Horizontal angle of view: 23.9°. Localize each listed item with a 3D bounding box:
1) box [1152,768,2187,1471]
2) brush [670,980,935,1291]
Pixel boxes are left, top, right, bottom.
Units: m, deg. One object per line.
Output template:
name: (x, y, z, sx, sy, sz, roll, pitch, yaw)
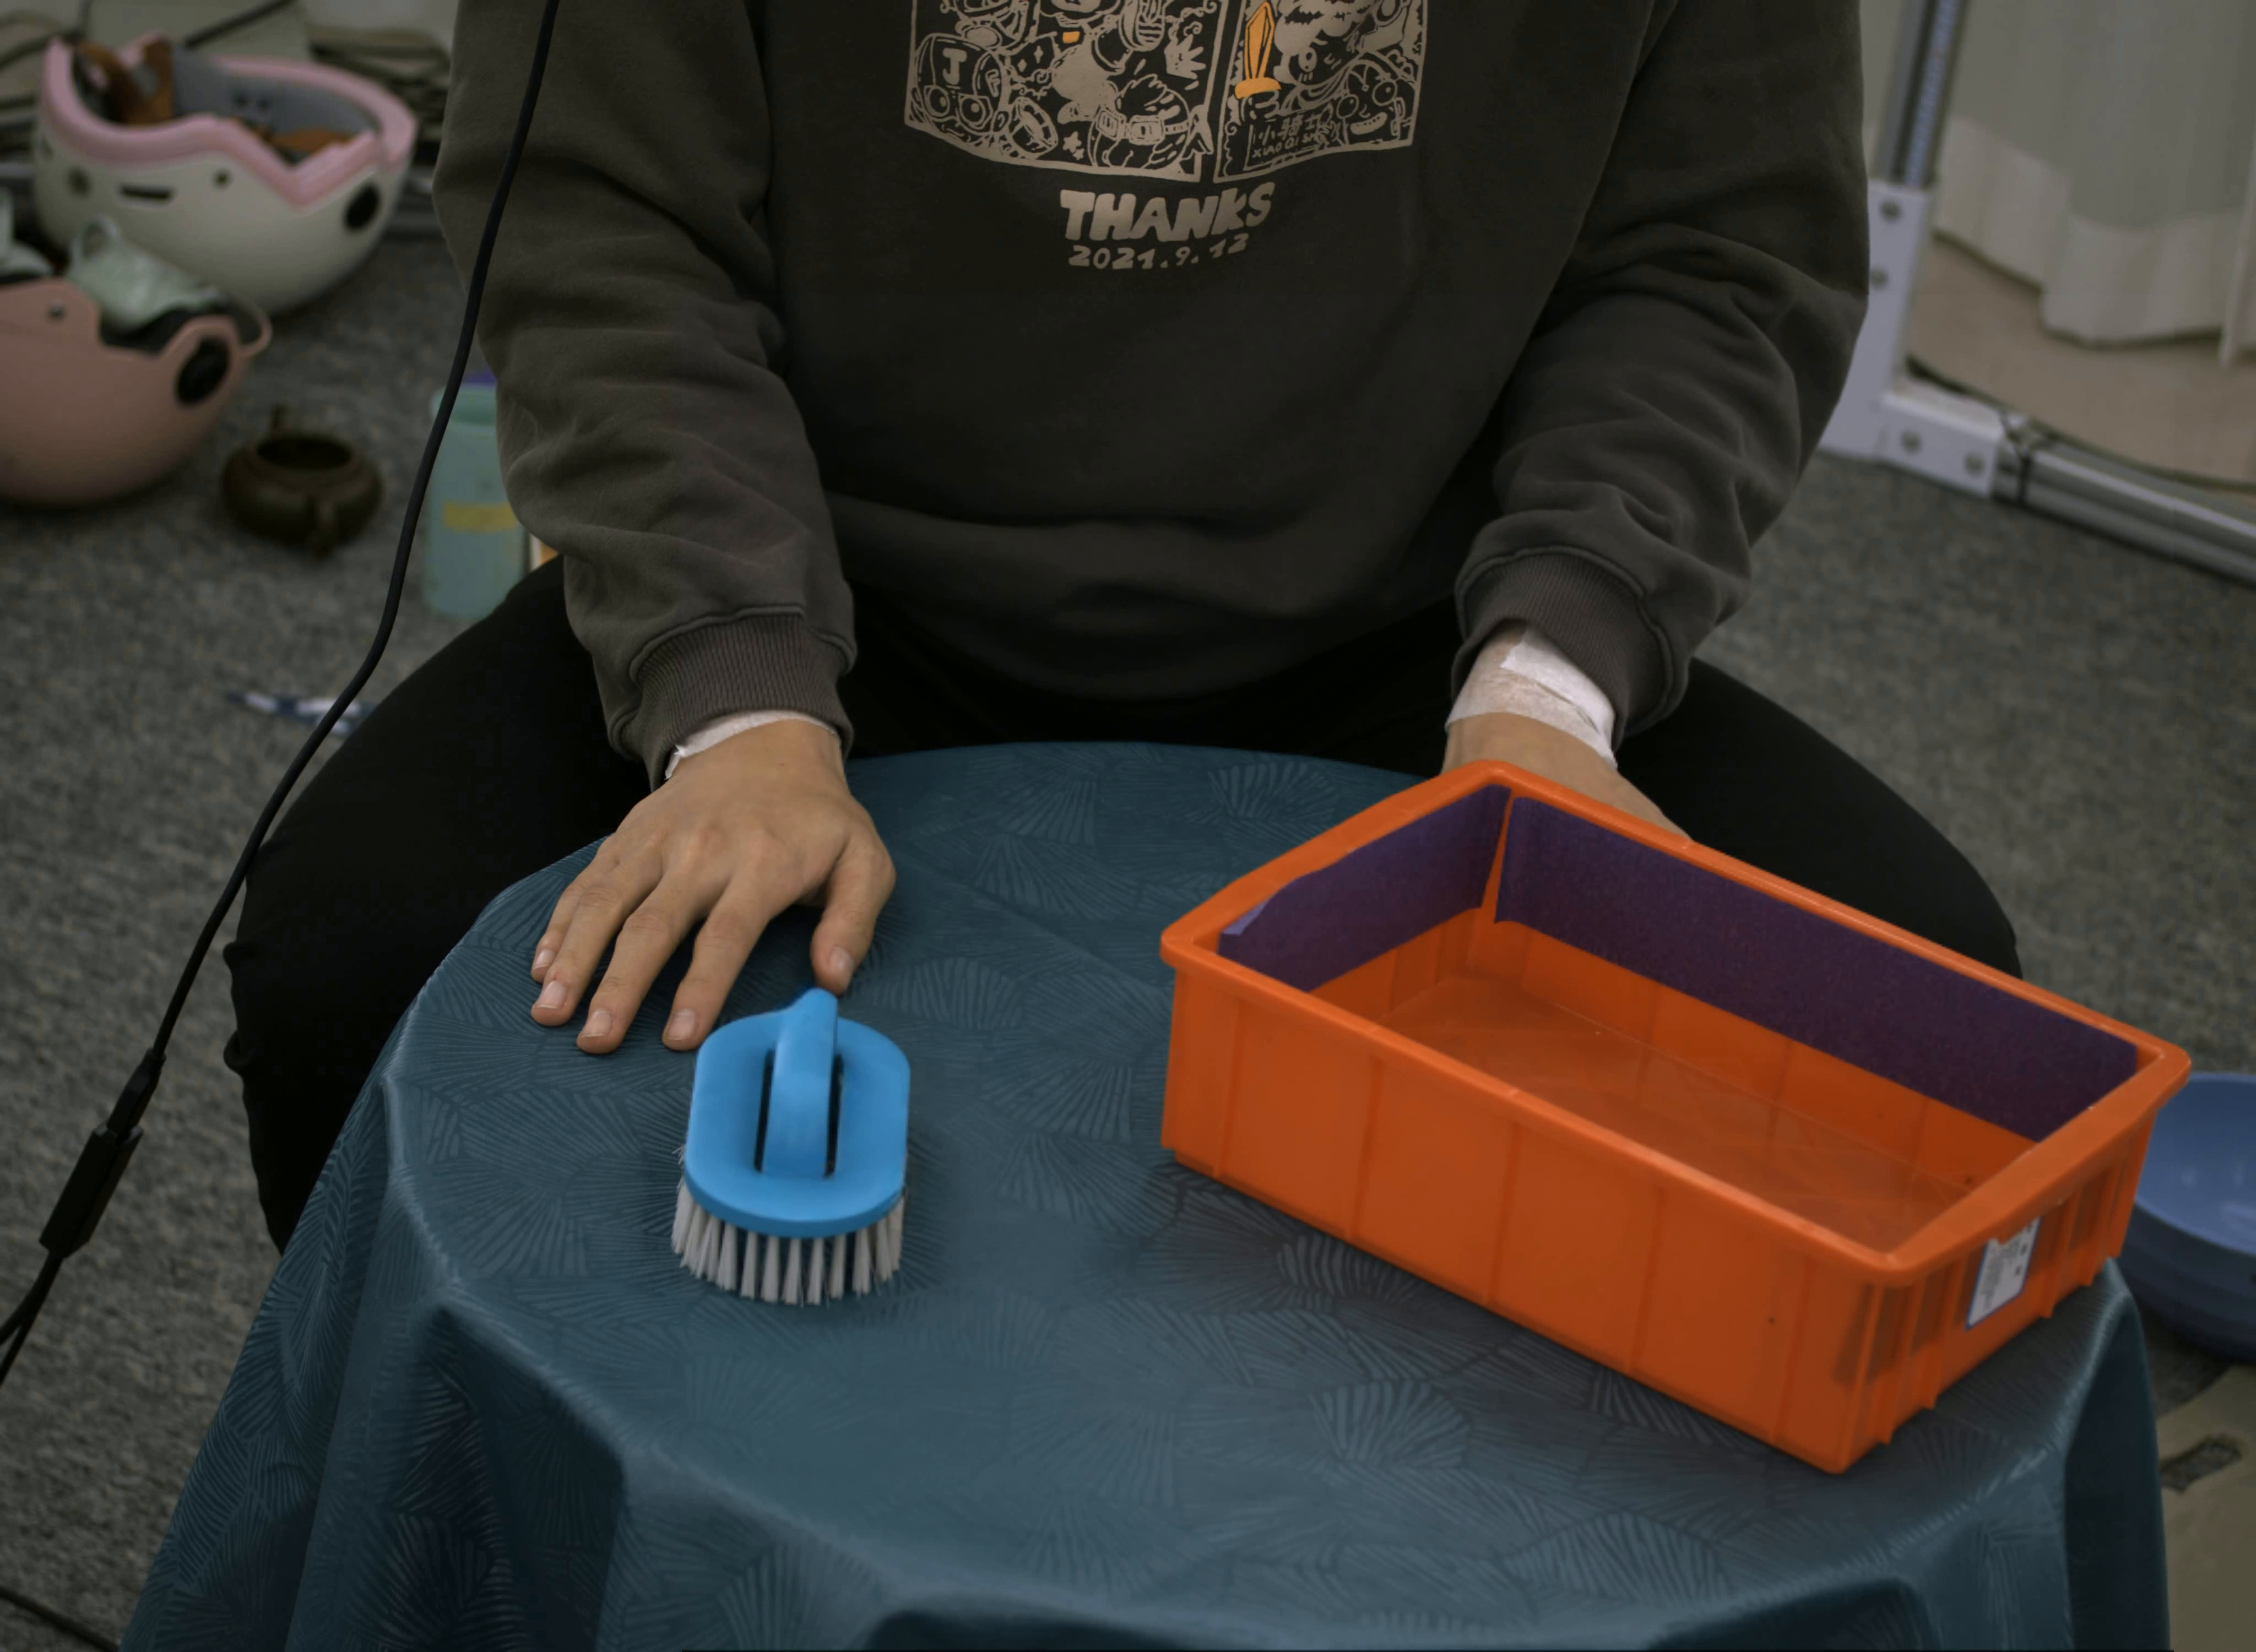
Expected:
box: (0.177, 0.095, 1.805, 0.305, 0.096, 0.206, 25, 31, 31)
brush: (-0.107, 0.094, 1.767, 0.084, 0.063, 0.142, 2, 25, 2)
